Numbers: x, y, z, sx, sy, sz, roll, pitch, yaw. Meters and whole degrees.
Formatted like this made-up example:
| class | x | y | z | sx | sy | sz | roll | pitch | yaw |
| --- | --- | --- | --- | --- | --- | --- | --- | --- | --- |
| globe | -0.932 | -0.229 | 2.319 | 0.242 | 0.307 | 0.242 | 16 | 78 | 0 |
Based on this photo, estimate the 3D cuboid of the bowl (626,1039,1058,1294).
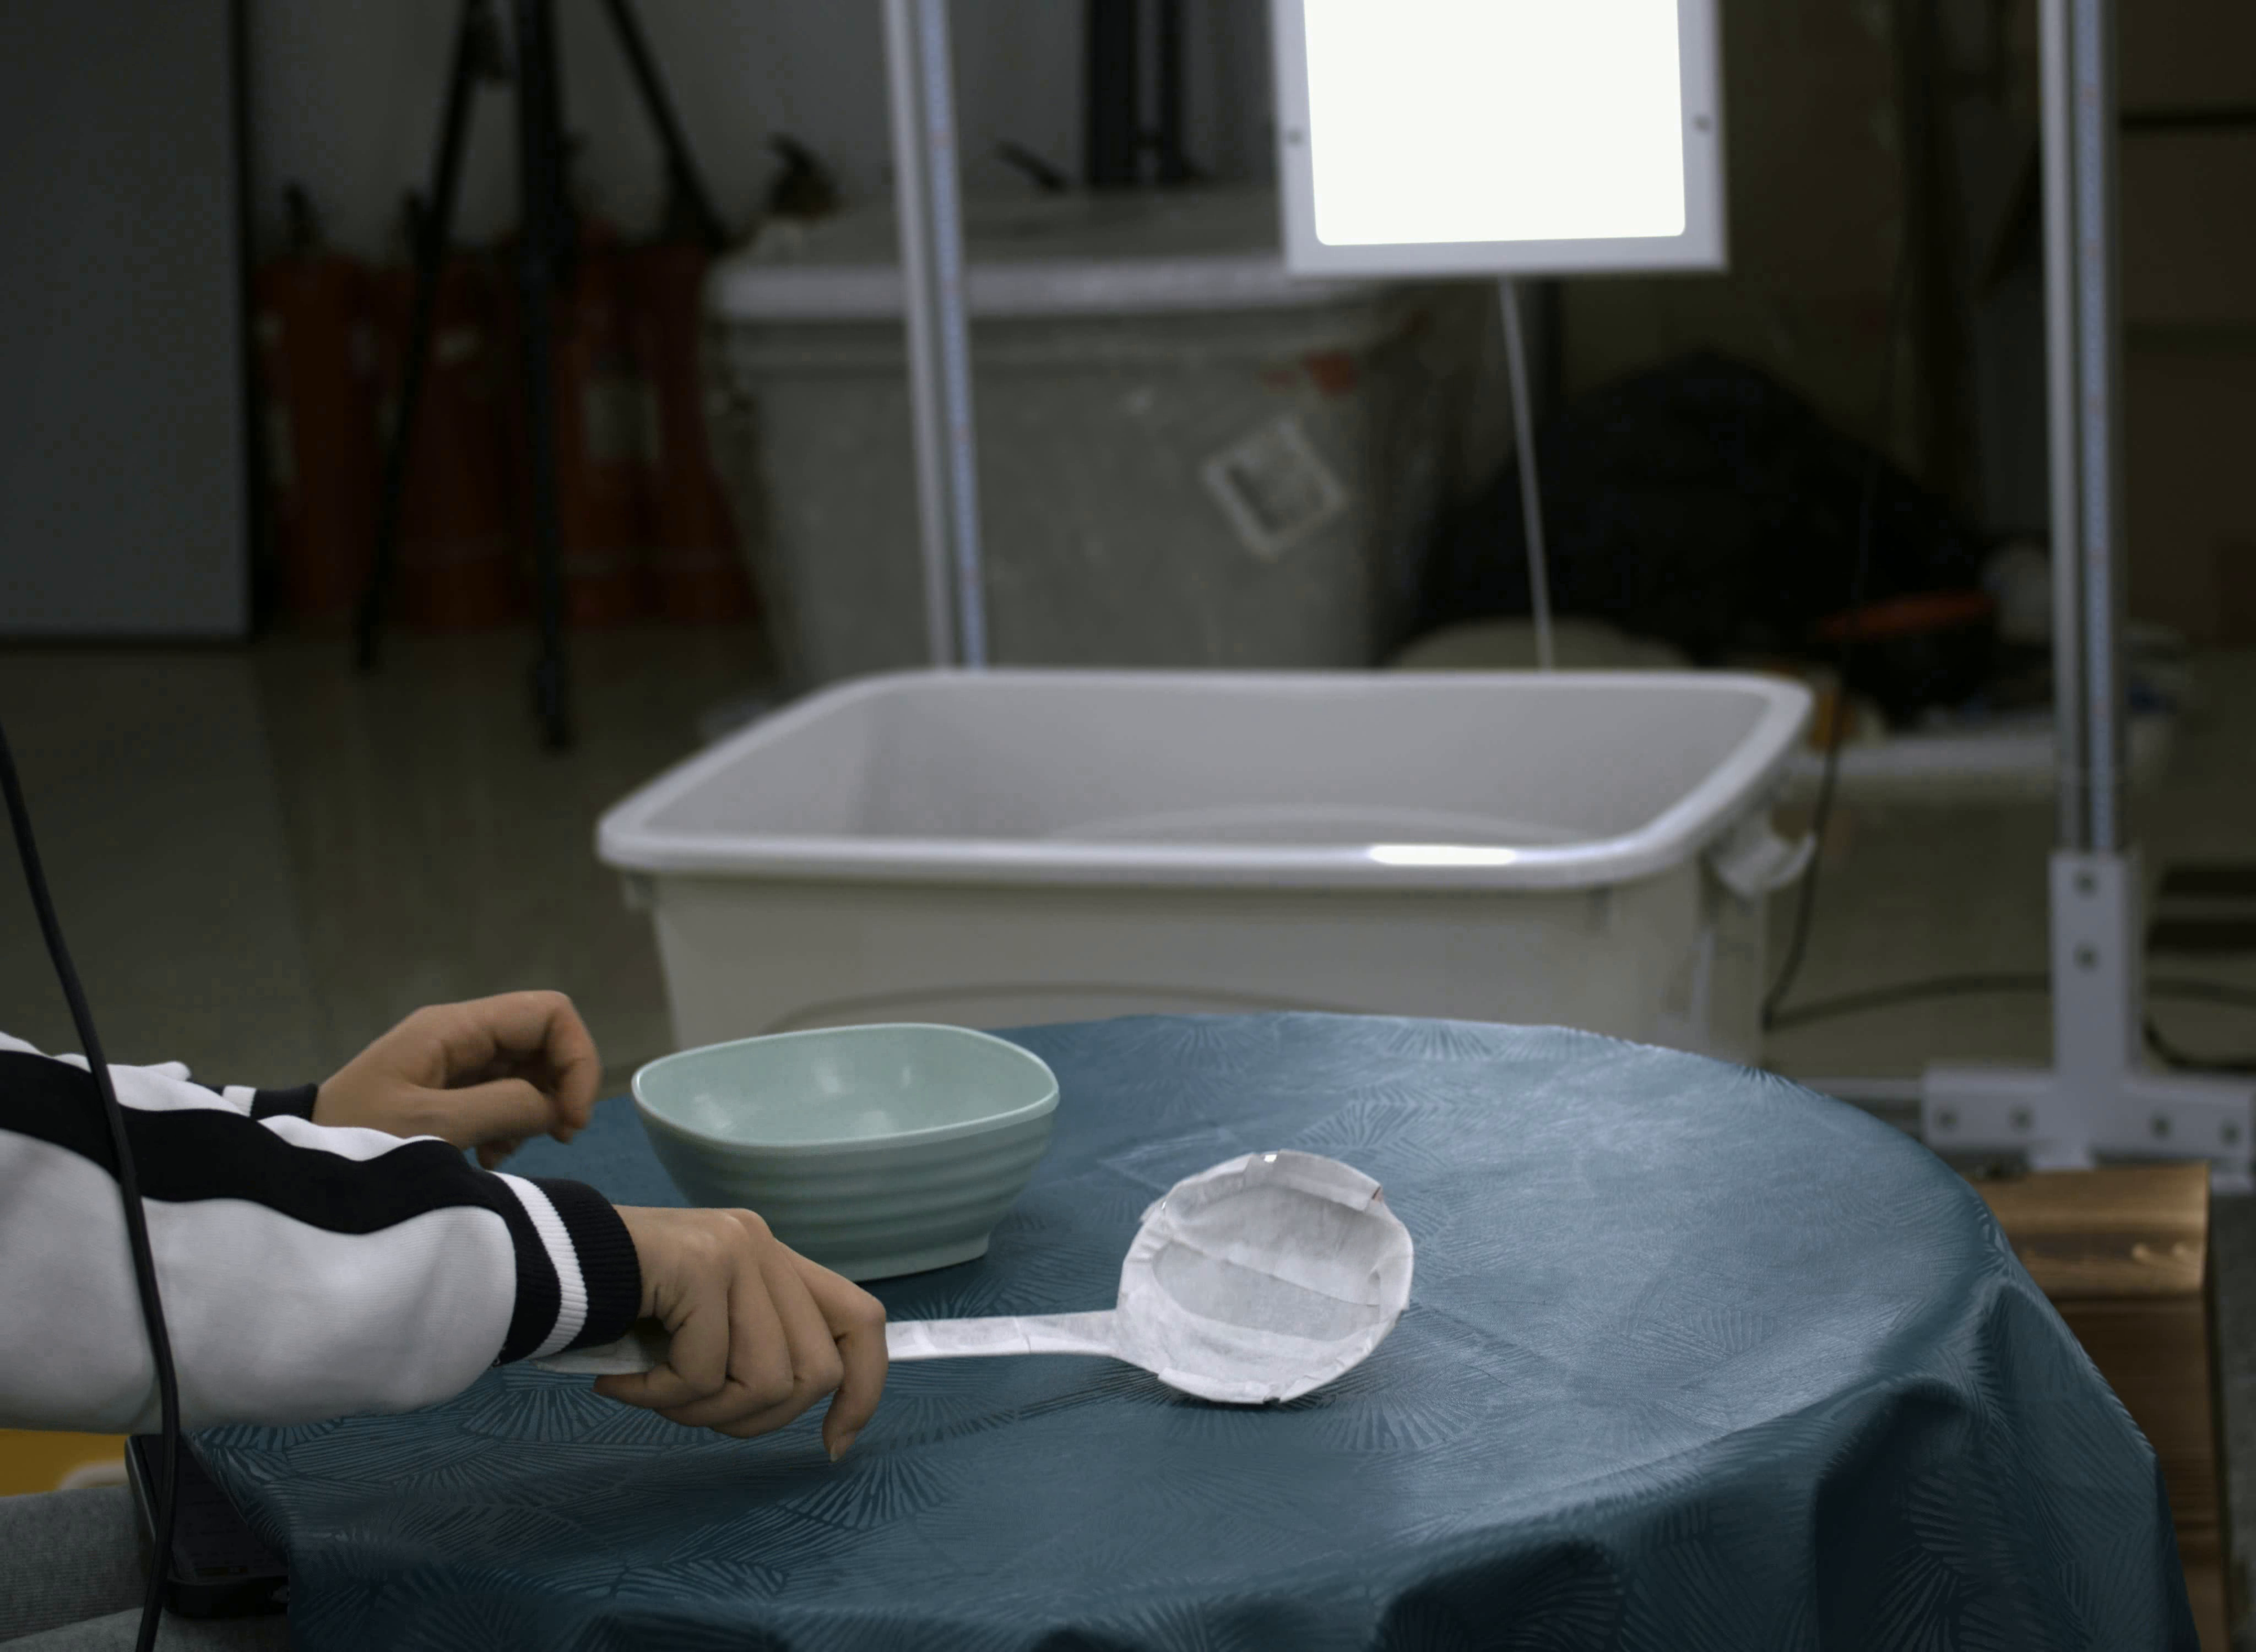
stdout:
| class | x | y | z | sx | sy | sz | roll | pitch | yaw |
| --- | --- | --- | --- | --- | --- | --- | --- | --- | --- |
| bowl | -0.096 | 0.117 | 1.857 | 0.151 | 0.059 | 0.151 | -2 | 12 | -1 |

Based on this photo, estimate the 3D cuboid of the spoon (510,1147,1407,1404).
| class | x | y | z | sx | sy | sz | roll | pitch | yaw |
| --- | --- | --- | --- | --- | --- | --- | --- | --- | --- |
| spoon | -0.050 | 0.131 | 1.669 | 0.272 | 0.060 | 0.101 | 4 | 35 | -22 |
